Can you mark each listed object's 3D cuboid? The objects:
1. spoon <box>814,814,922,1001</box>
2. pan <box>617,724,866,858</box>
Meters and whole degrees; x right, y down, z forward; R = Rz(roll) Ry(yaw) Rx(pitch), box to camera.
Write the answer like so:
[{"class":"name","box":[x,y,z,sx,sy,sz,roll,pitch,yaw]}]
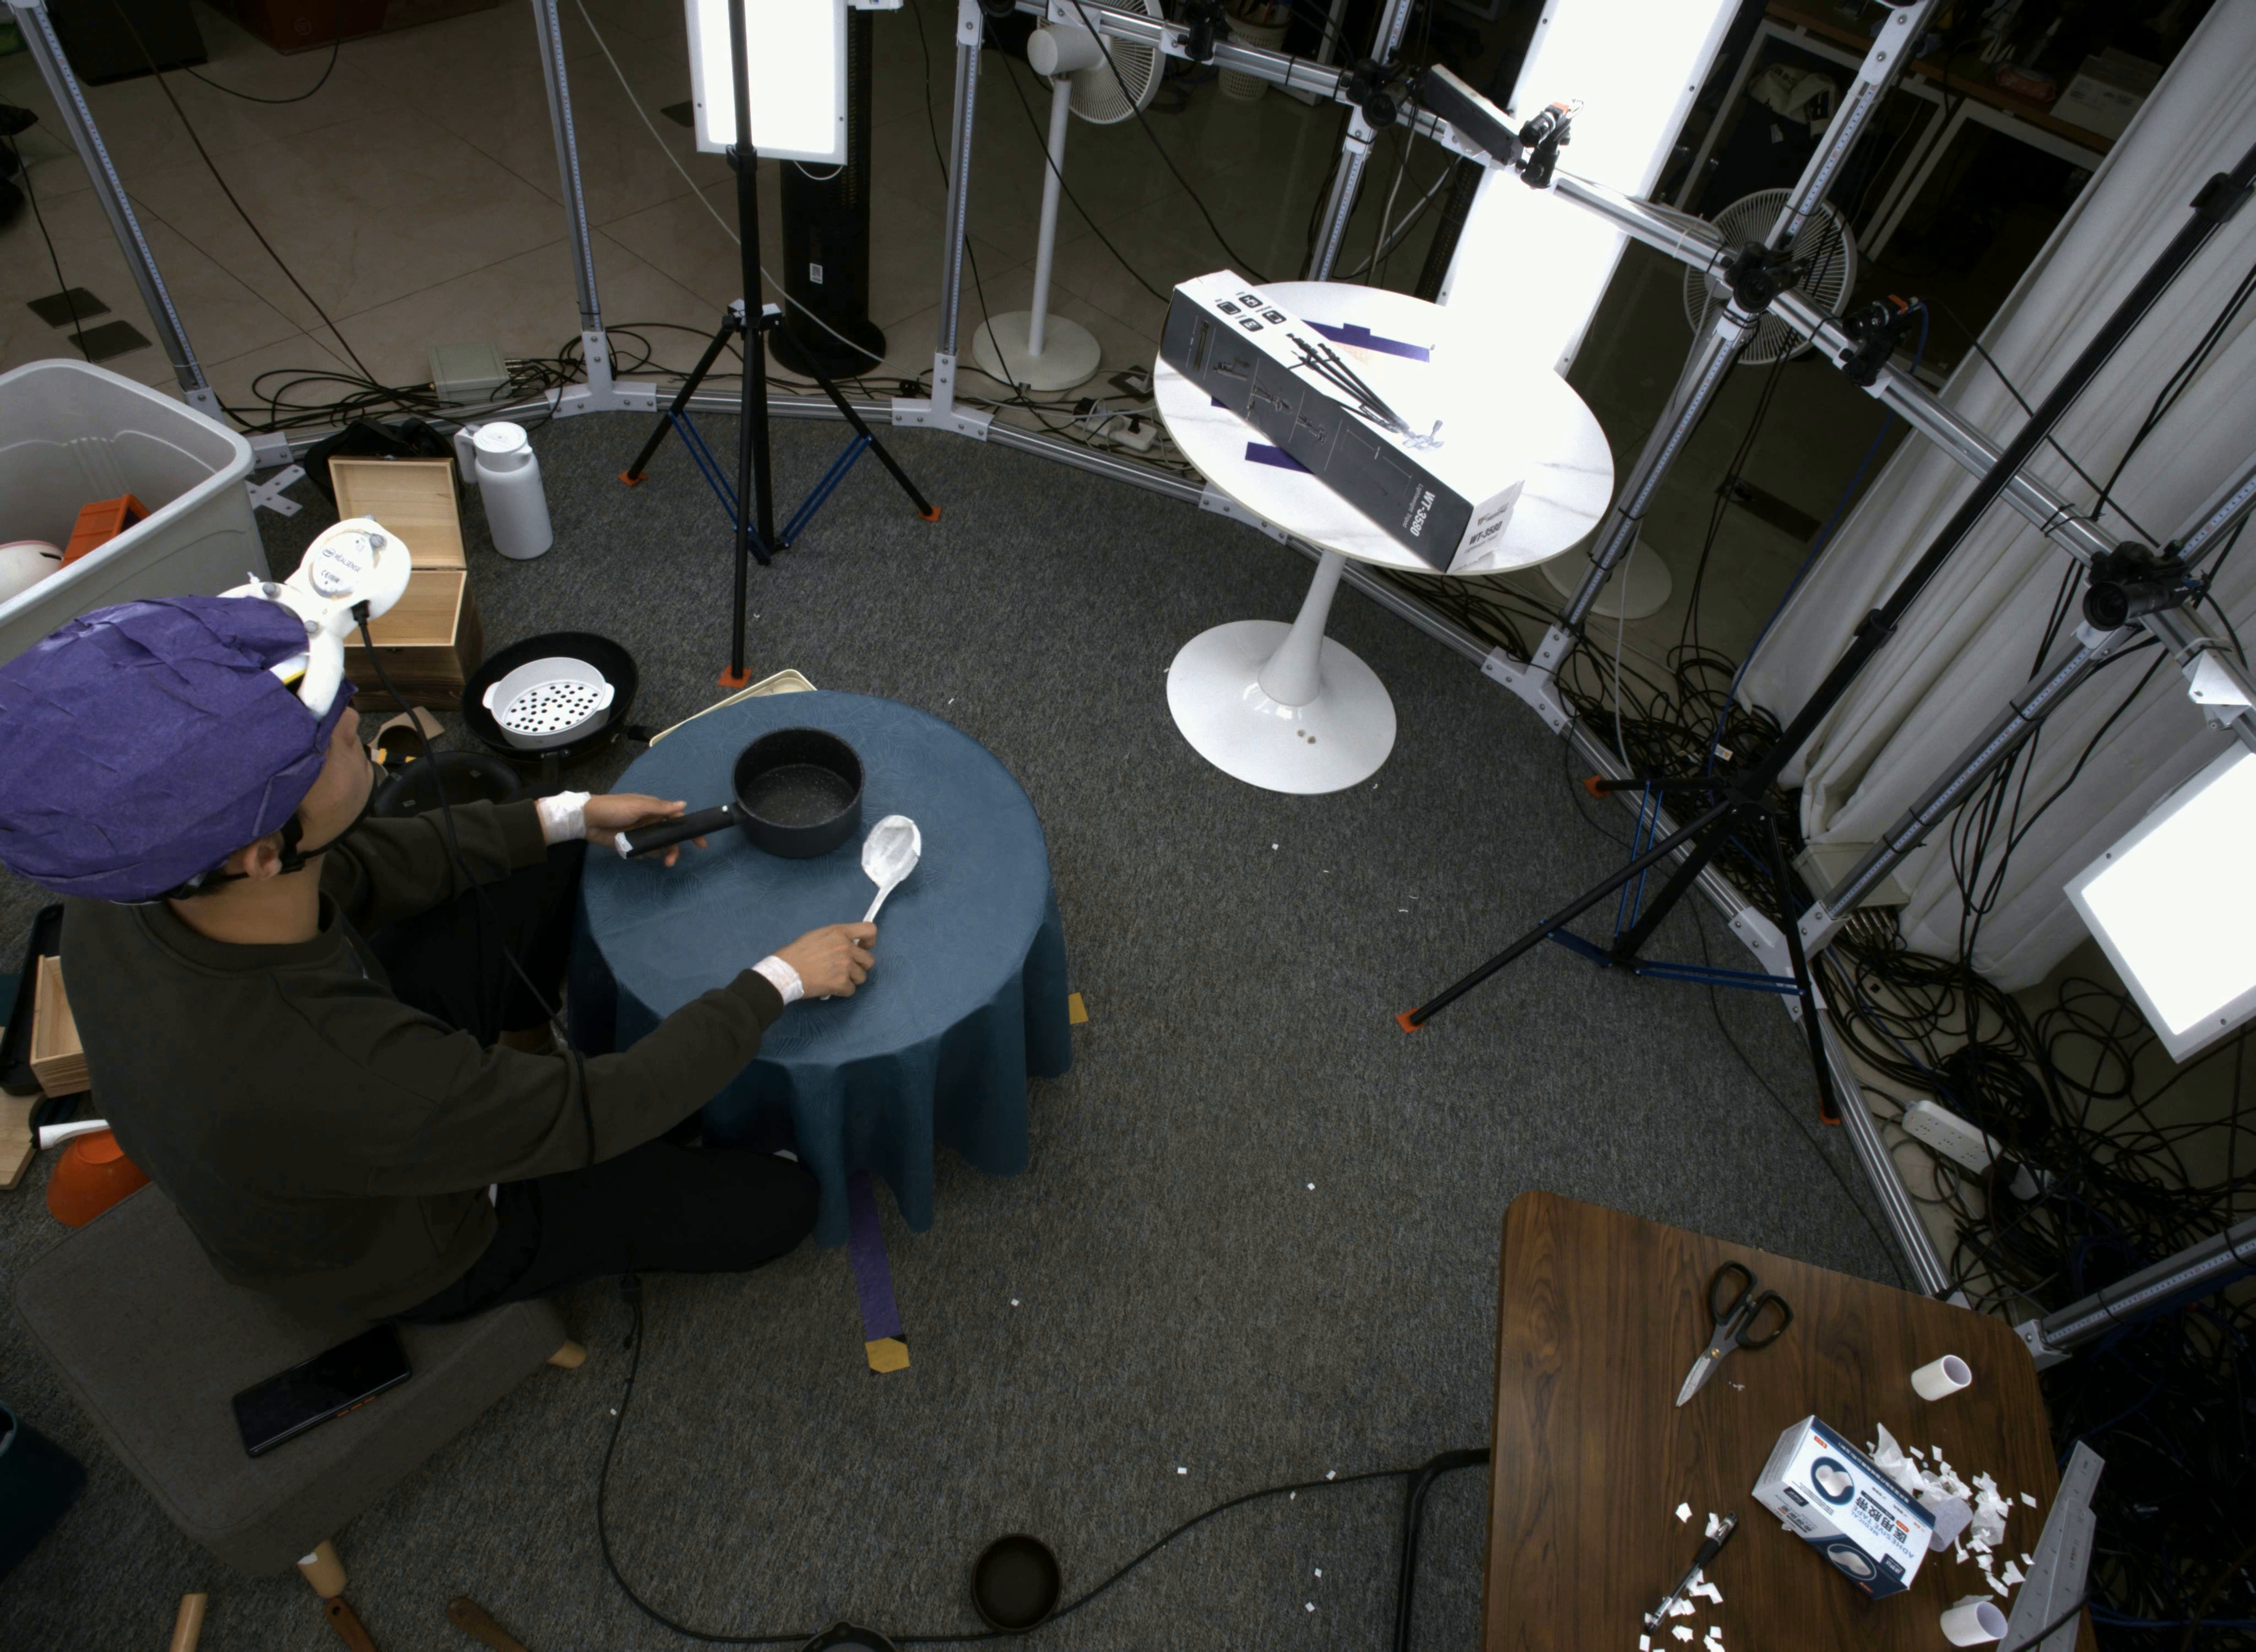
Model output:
[{"class":"spoon","box":[-0.342,0.096,1.638,0.098,0.062,0.275,-3,40,28]},{"class":"pan","box":[-0.498,-0.019,1.677,0.330,0.088,0.167,-23,61,-28]}]
